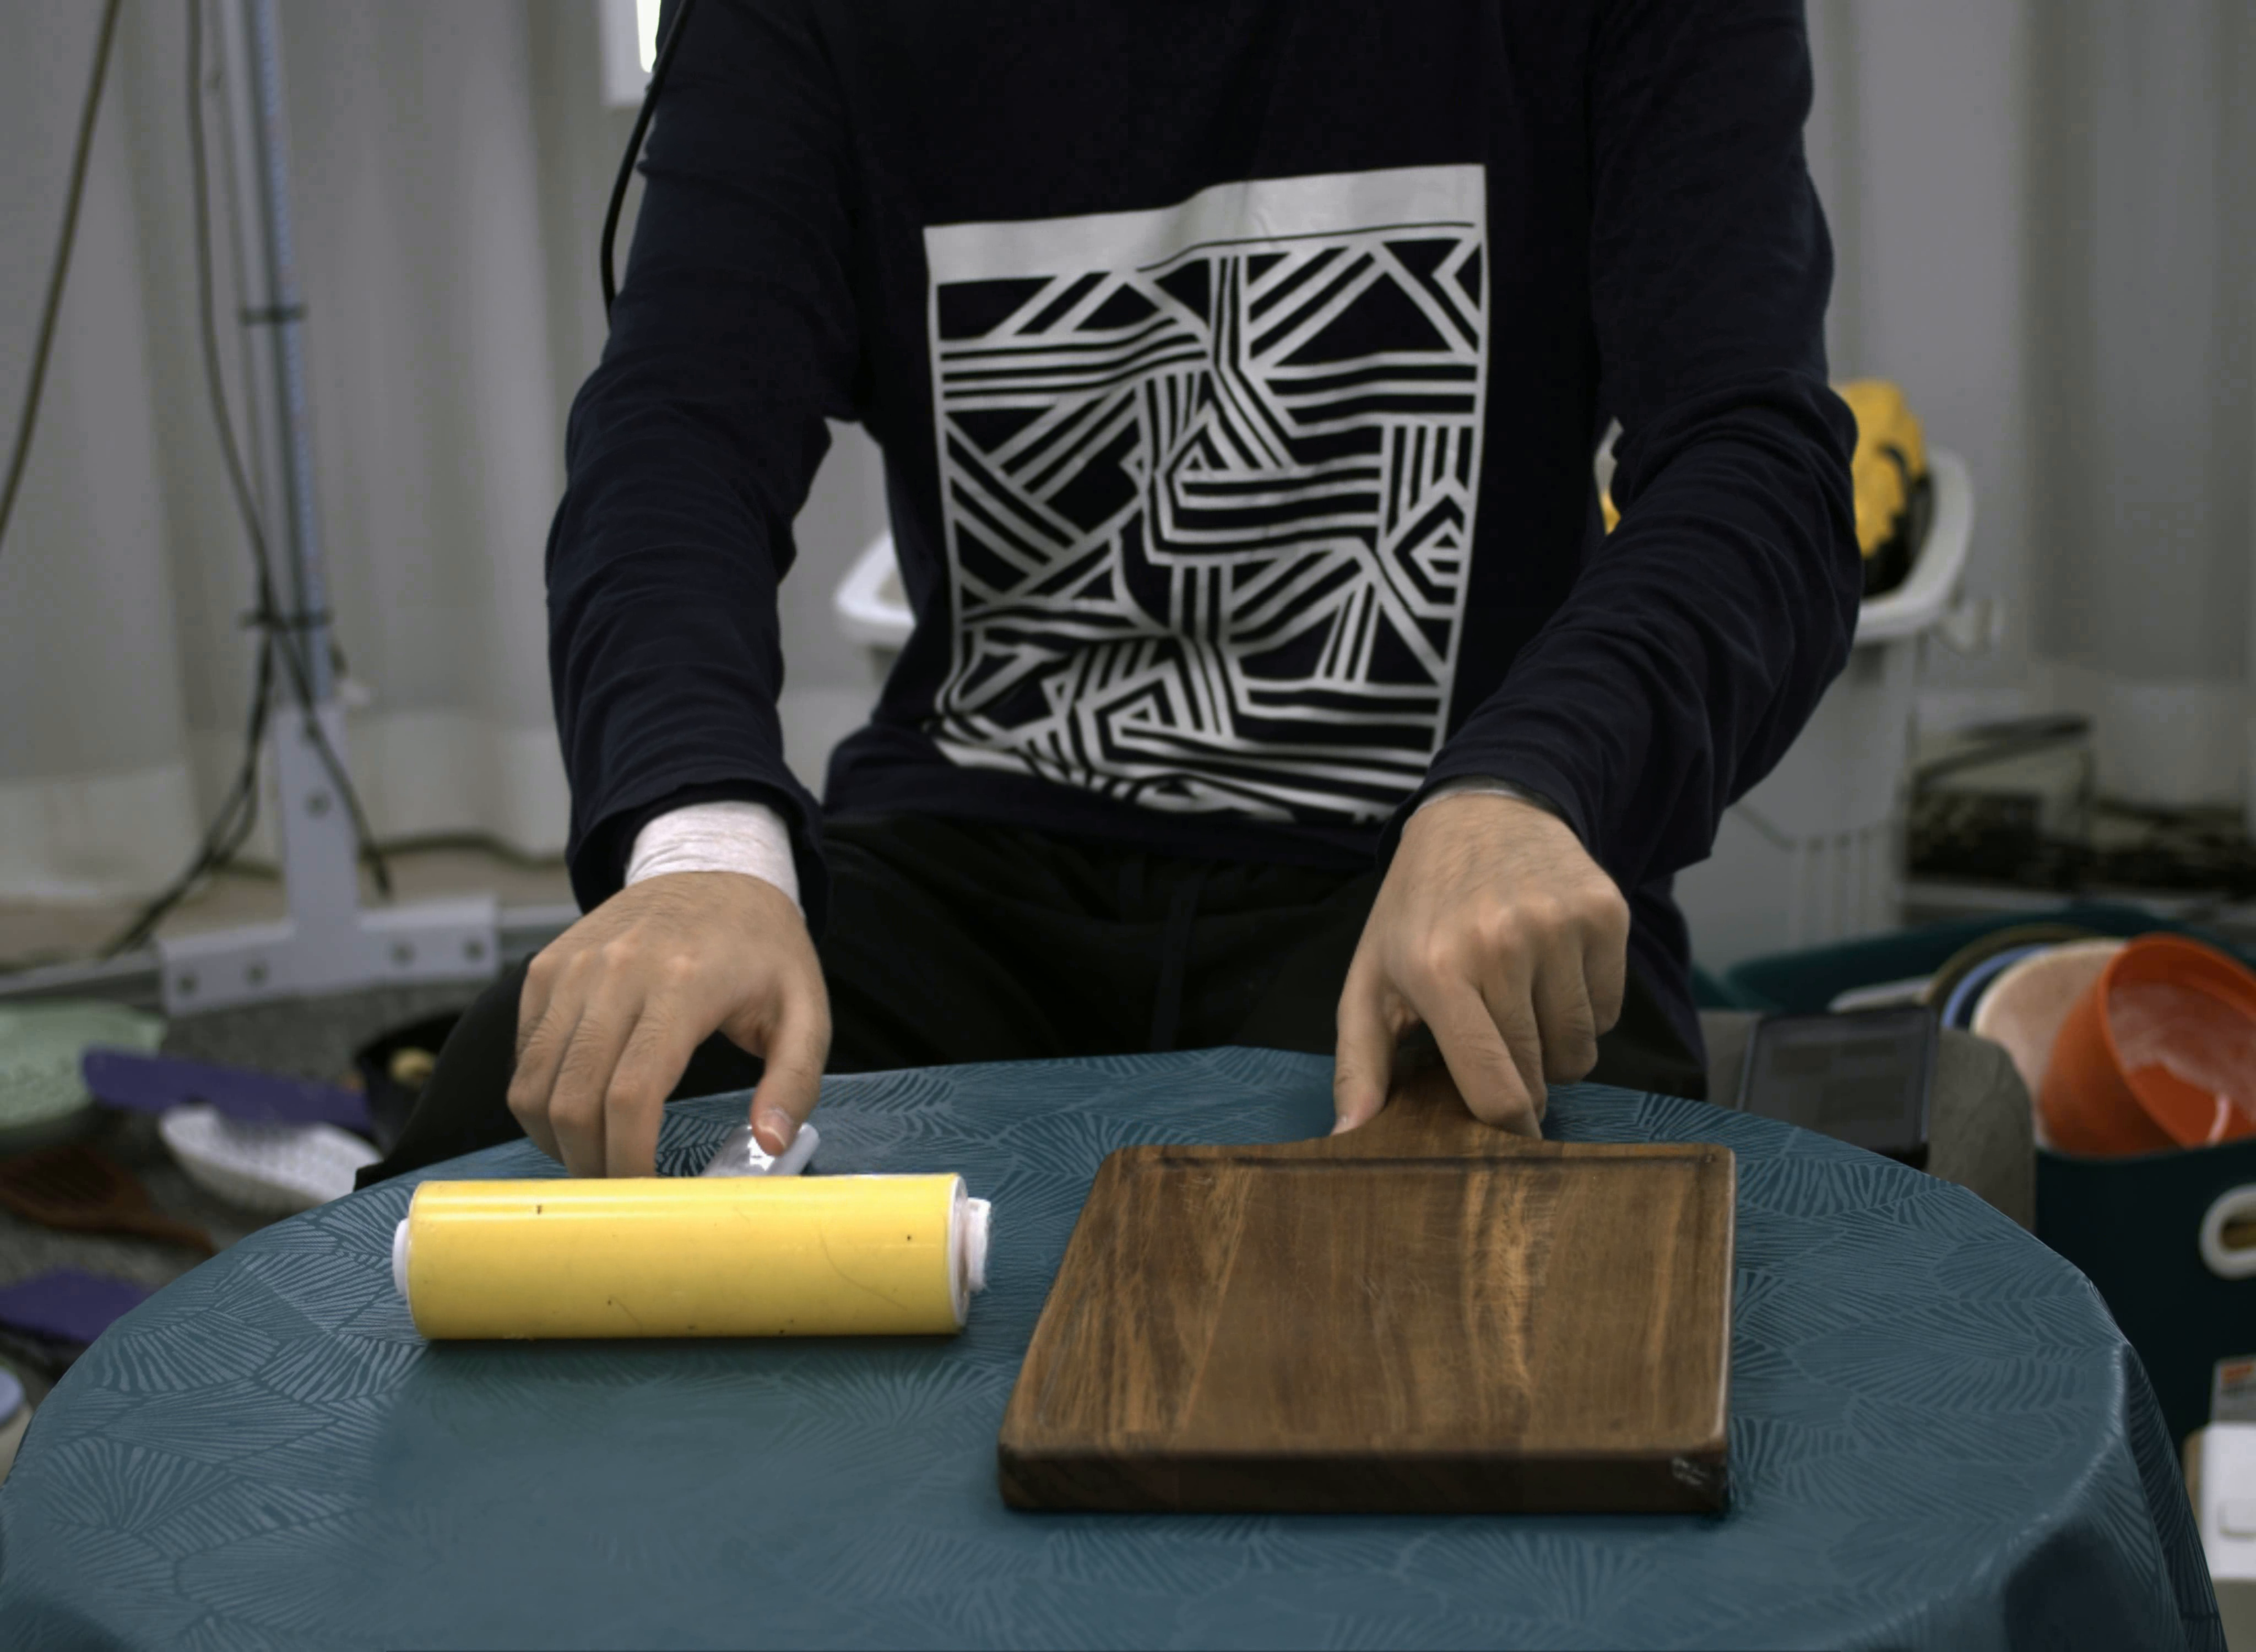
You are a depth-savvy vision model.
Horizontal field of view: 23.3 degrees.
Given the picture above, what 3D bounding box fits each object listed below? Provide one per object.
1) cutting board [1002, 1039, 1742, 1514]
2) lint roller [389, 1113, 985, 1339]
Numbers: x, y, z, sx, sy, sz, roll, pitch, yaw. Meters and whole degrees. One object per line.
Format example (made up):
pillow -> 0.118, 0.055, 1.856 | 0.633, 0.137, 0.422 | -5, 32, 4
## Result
cutting board -> 0.081, 0.126, 1.609 | 0.200, 0.023, 0.354 | -1, 15, 7
lint roller -> -0.125, 0.107, 1.673 | 0.174, 0.051, 0.193 | -1, 18, 4
